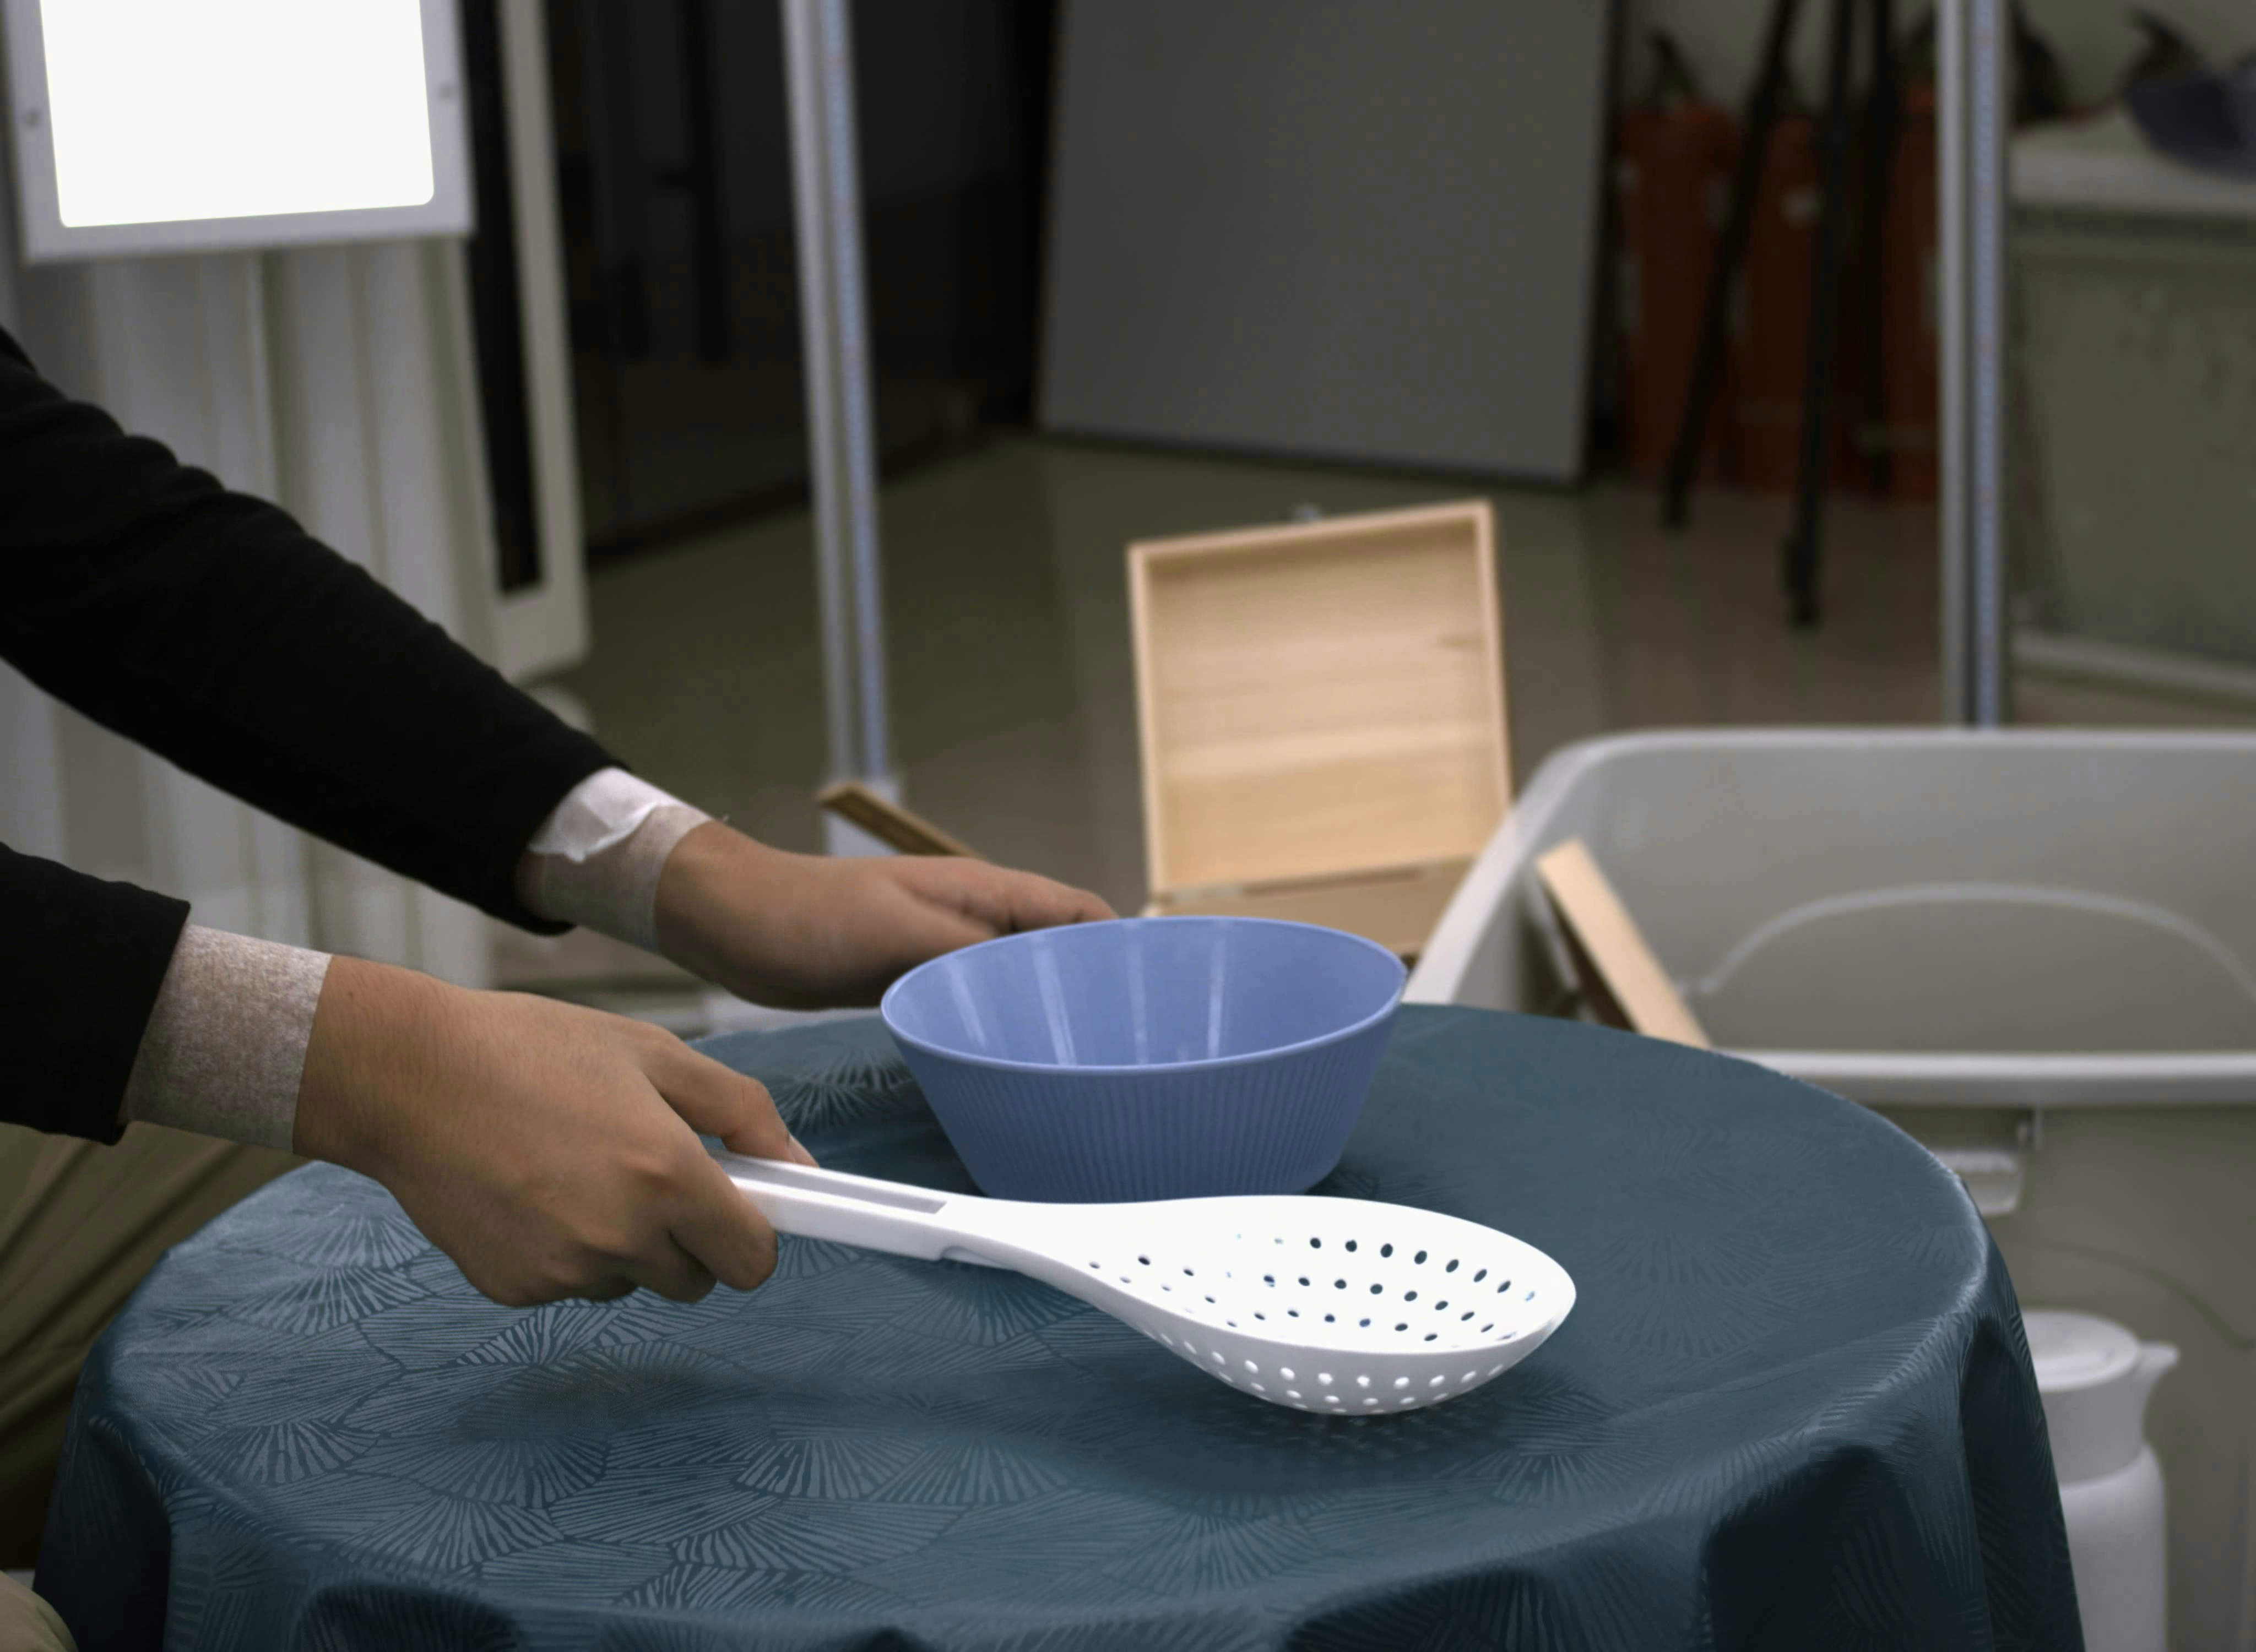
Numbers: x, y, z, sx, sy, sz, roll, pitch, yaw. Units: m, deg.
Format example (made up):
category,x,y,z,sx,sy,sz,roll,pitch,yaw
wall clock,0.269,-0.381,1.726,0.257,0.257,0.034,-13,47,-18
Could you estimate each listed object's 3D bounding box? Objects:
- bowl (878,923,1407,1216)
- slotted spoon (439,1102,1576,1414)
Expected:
category,x,y,z,sx,sy,sz,roll,pitch,yaw
bowl,0.007,0.085,1.770,0.174,0.071,0.176,-5,13,0
slotted spoon,-0.040,0.118,1.587,0.348,0.046,0.135,13,17,15
